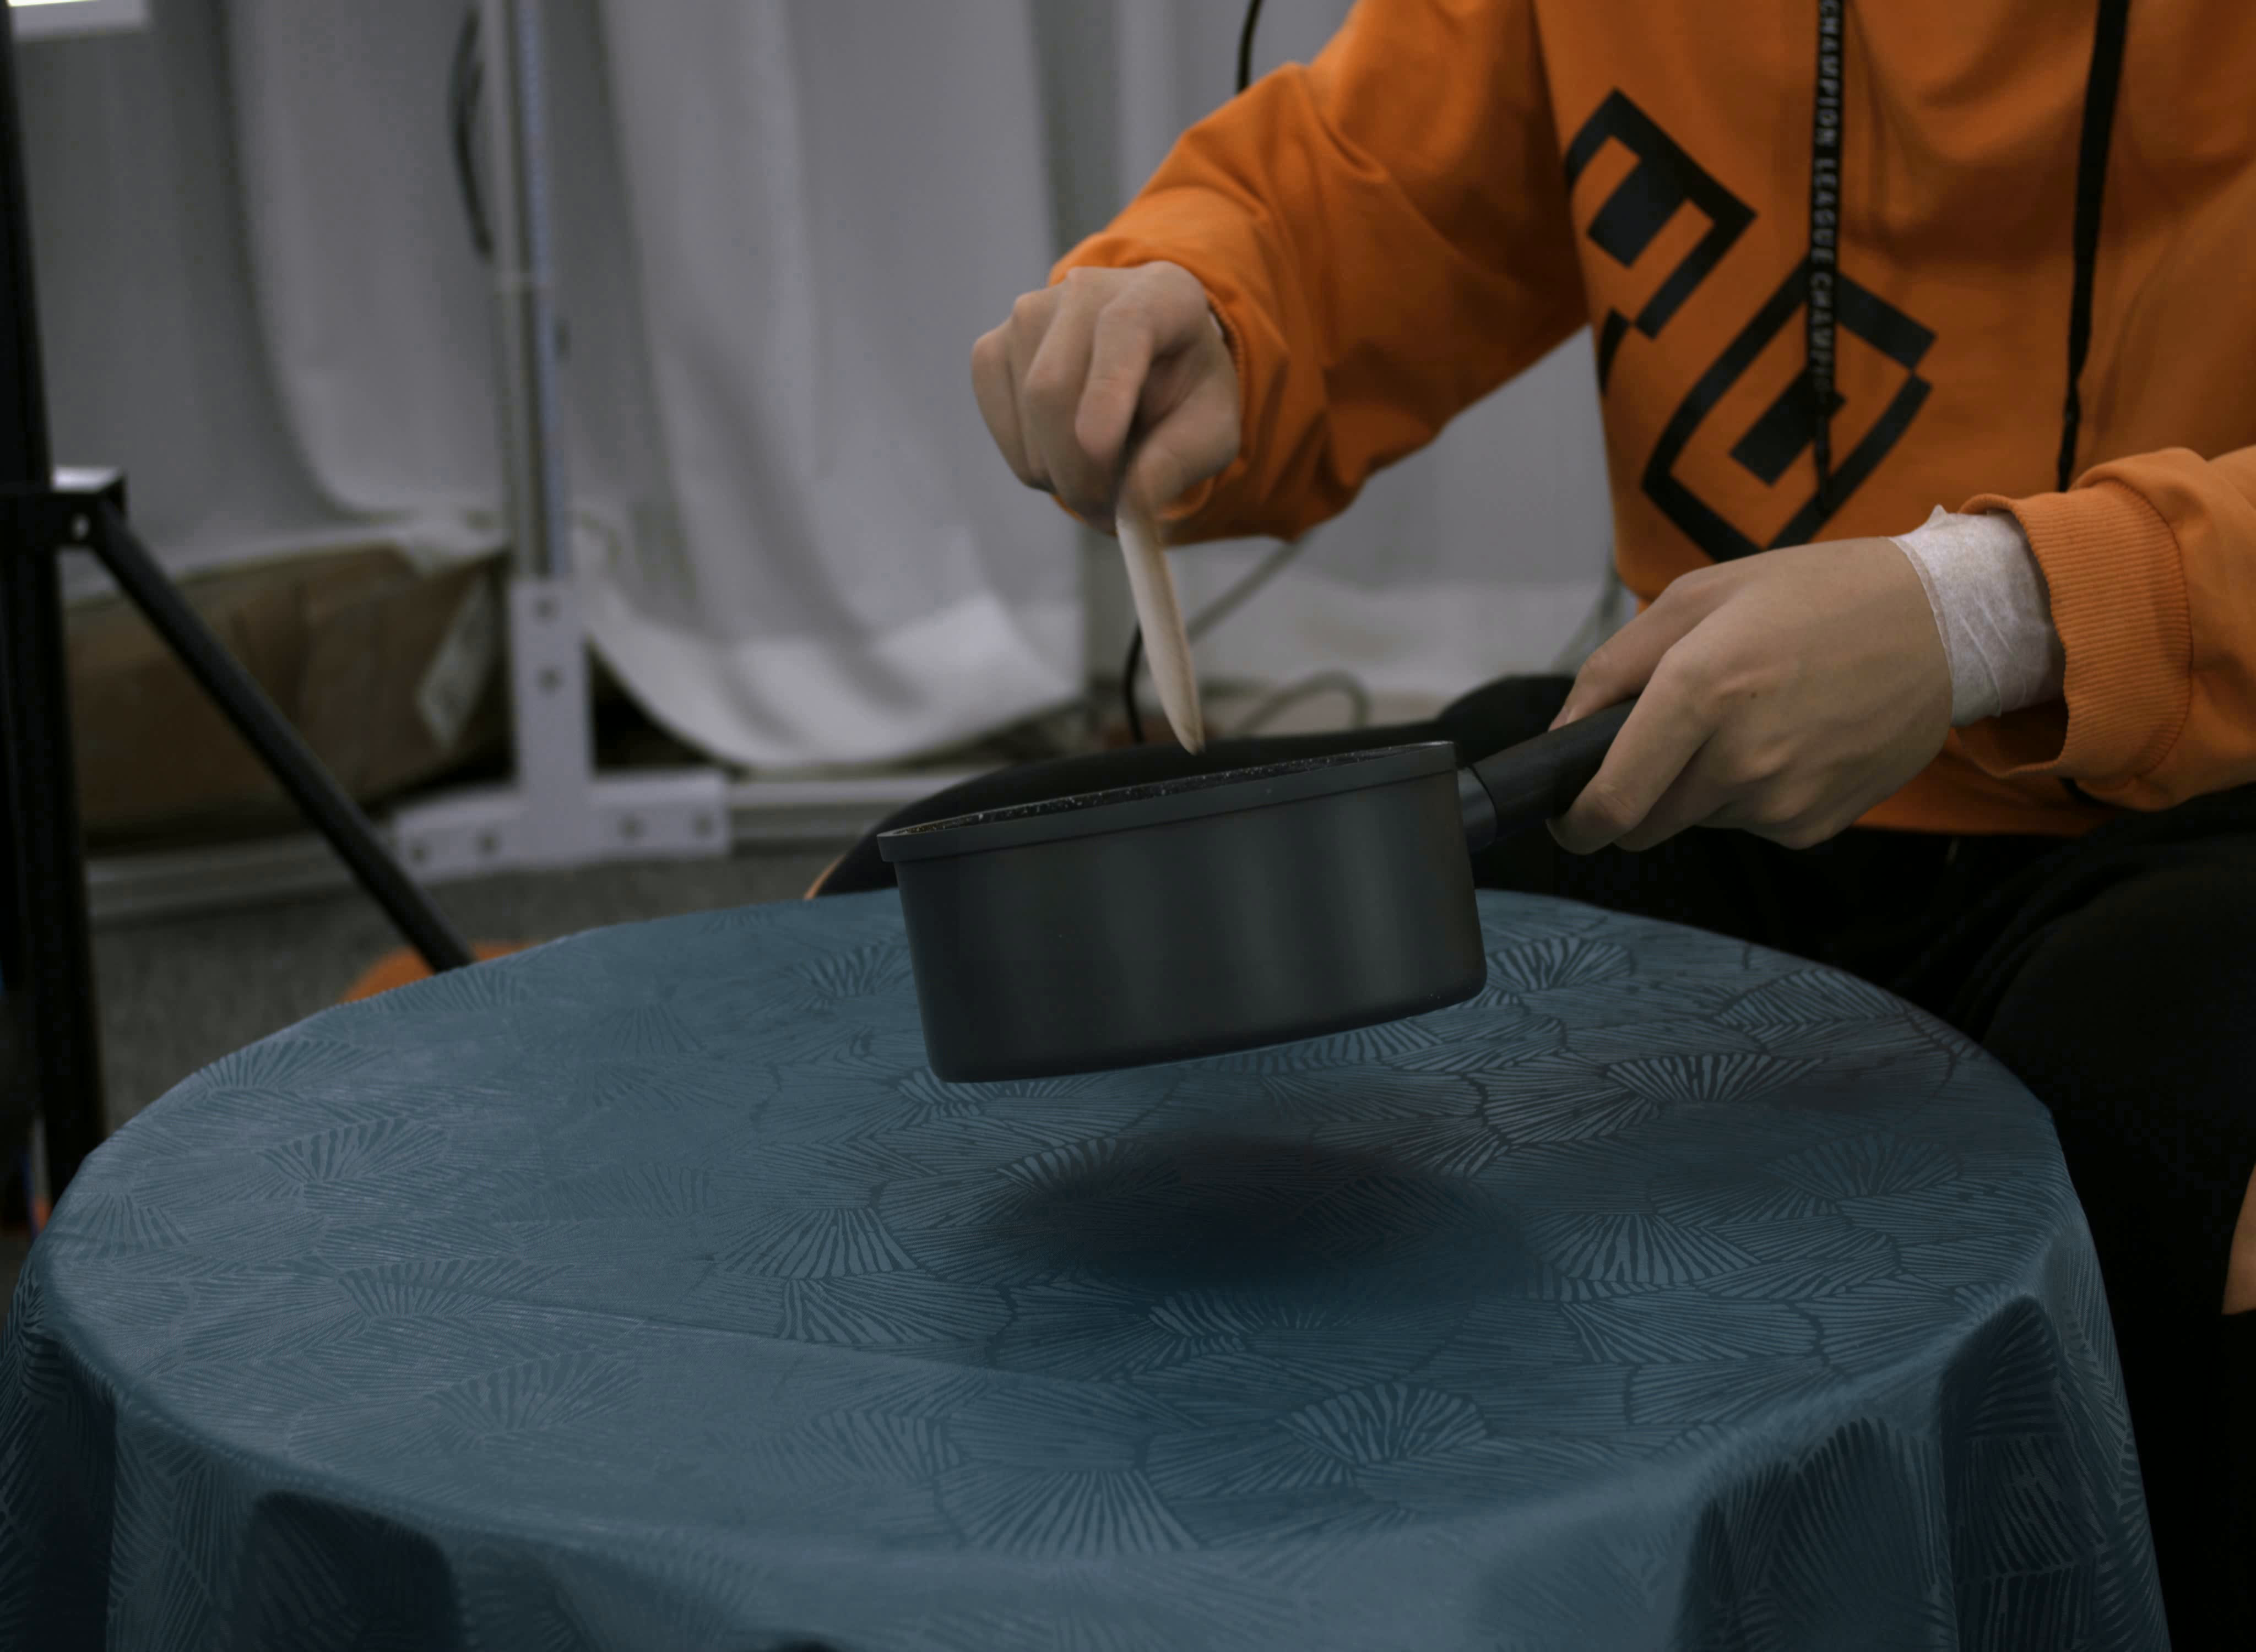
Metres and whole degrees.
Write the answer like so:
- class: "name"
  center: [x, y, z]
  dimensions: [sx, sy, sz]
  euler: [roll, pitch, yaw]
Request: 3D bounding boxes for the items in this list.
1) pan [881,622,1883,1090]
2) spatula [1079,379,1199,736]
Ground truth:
- class: "pan"
  center: [0.087, 0.010, 1.560]
  dimensions: [0.322, 0.087, 0.175]
  euler: [-12, 3, -26]
- class: "spatula"
  center: [-0.002, -0.098, 1.640]
  dimensions: [0.010, 0.072, 0.295]
  euler: [-15, 17, 0]
